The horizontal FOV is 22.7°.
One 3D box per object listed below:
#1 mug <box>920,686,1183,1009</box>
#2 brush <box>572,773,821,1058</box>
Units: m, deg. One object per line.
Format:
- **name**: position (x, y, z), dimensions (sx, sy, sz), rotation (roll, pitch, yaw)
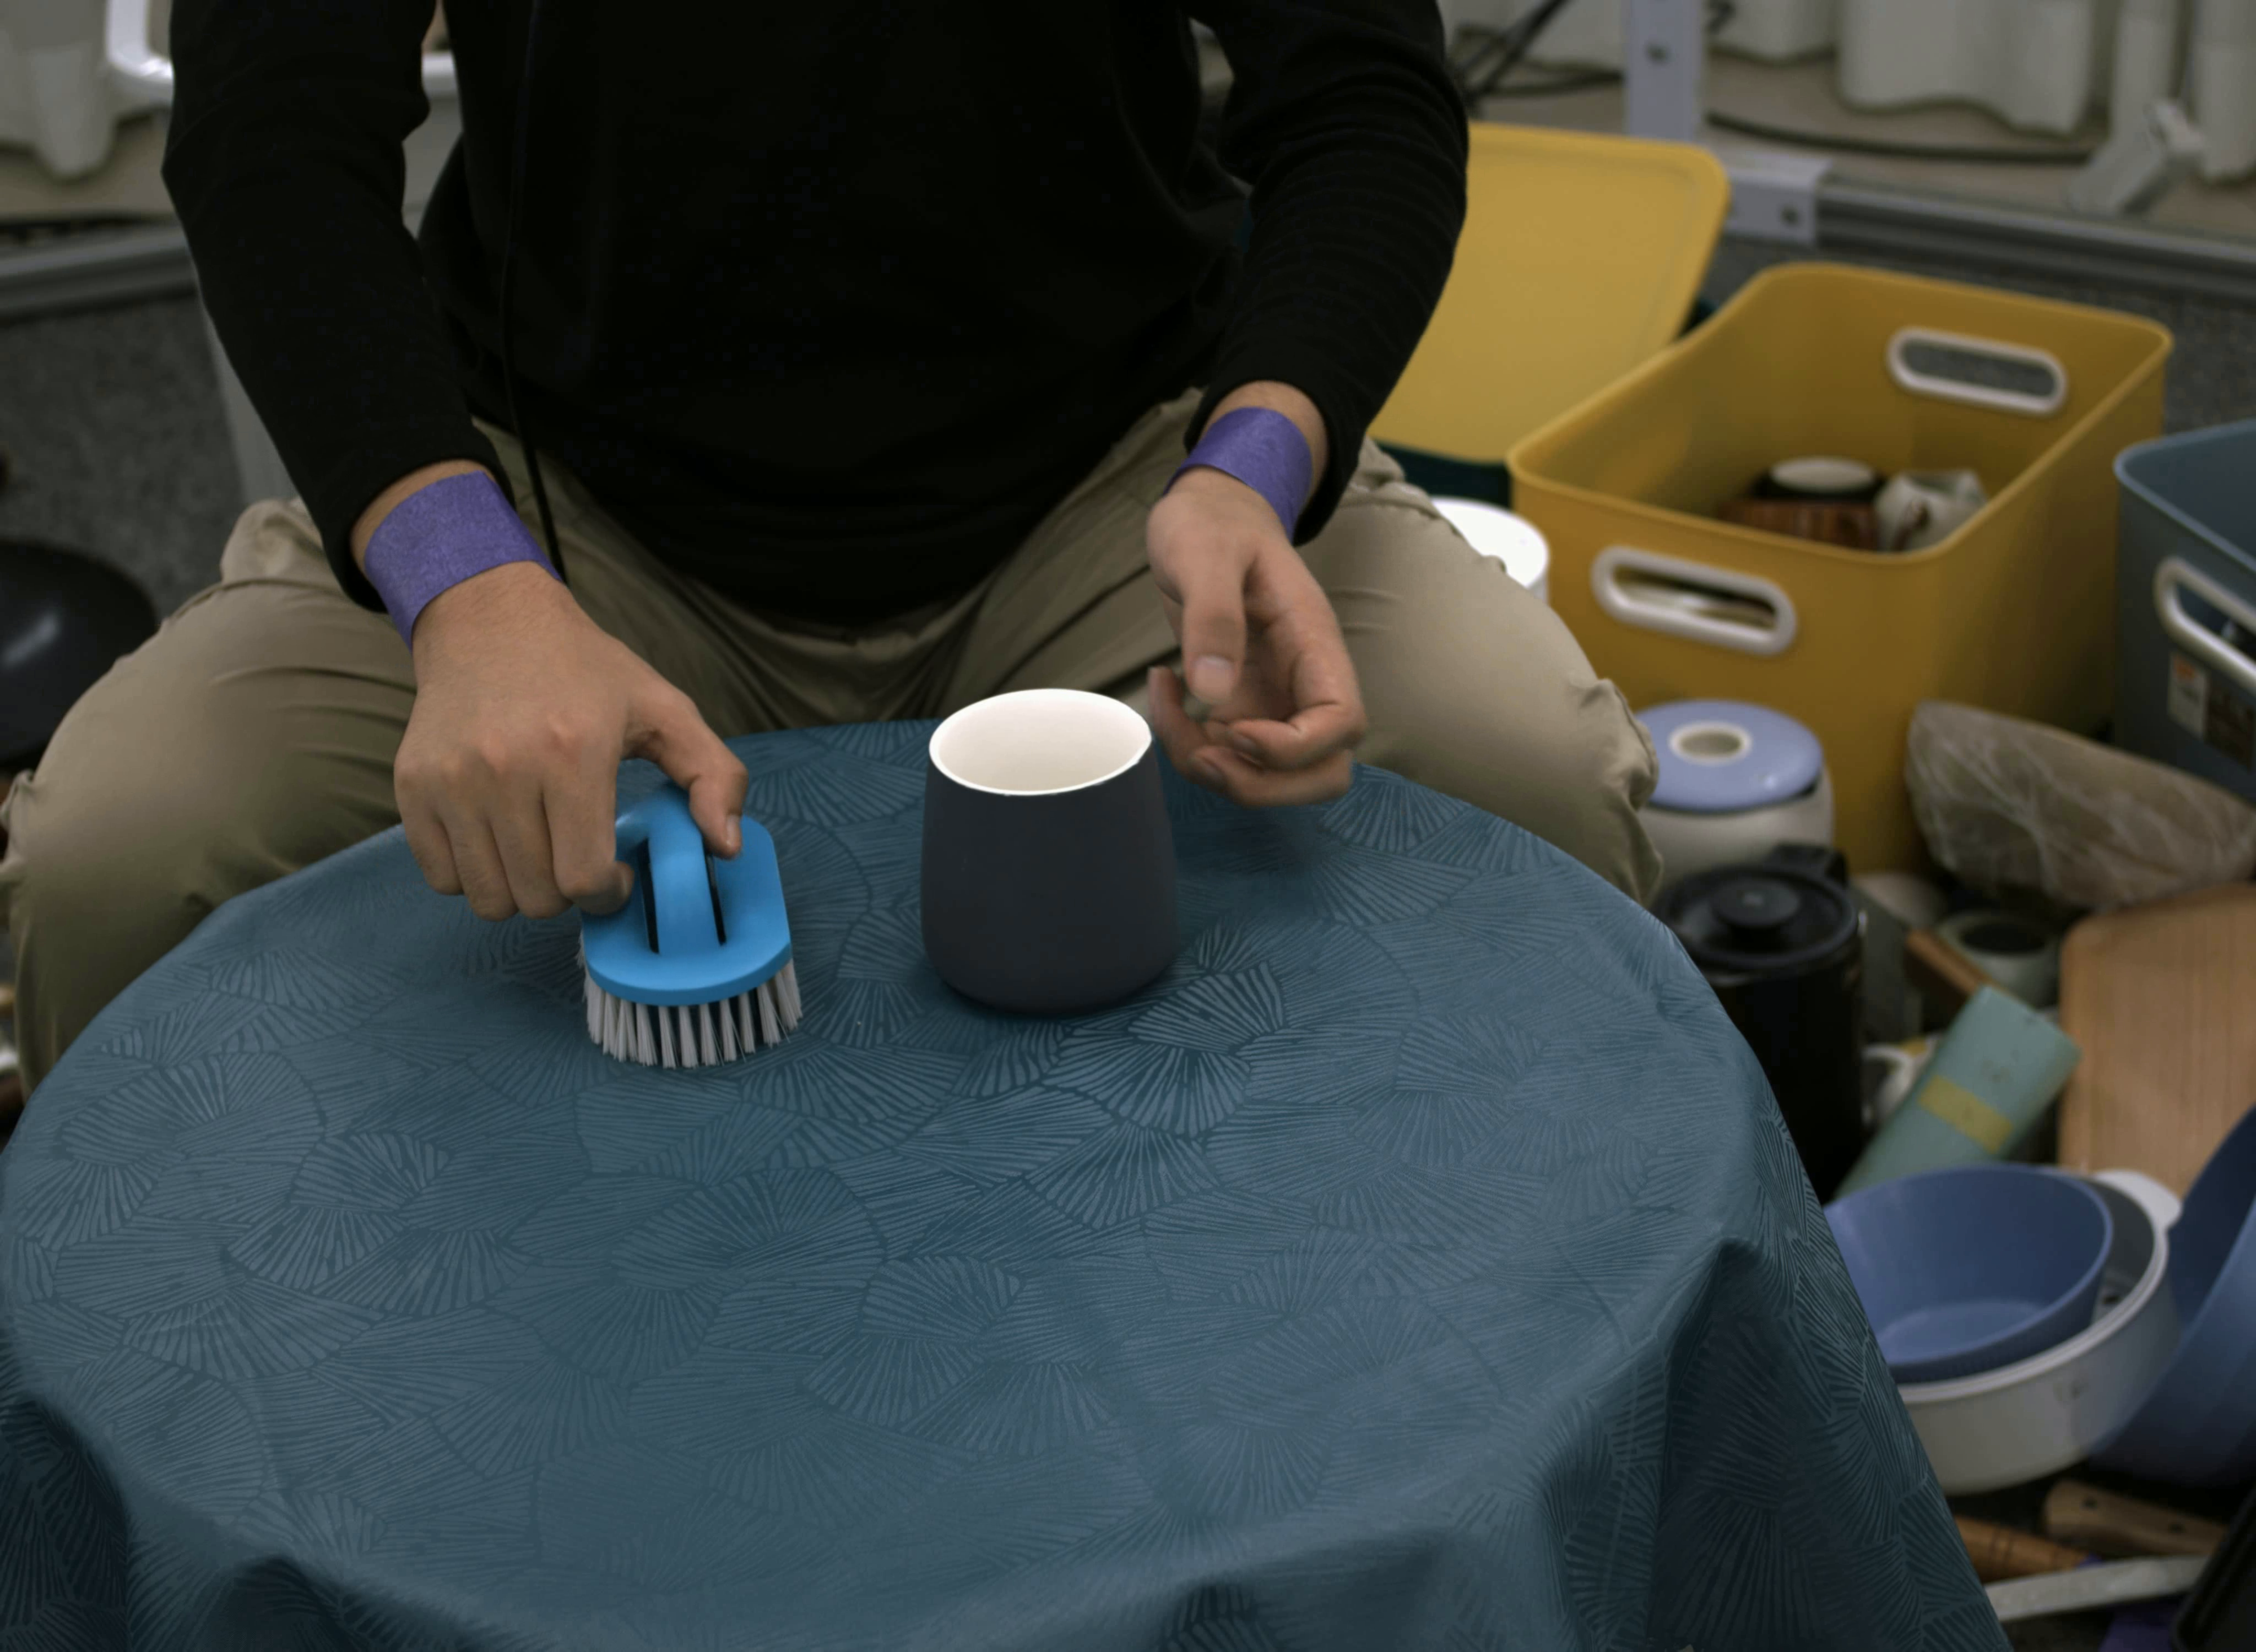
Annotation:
- **mug**: position (-0.028, 0.001, 1.996), dimensions (0.093, 0.089, 0.125), rotation (-2, 29, 1)
- **brush**: position (-0.157, 0.023, 1.996), dimensions (0.084, 0.063, 0.143), rotation (-10, 26, -3)
